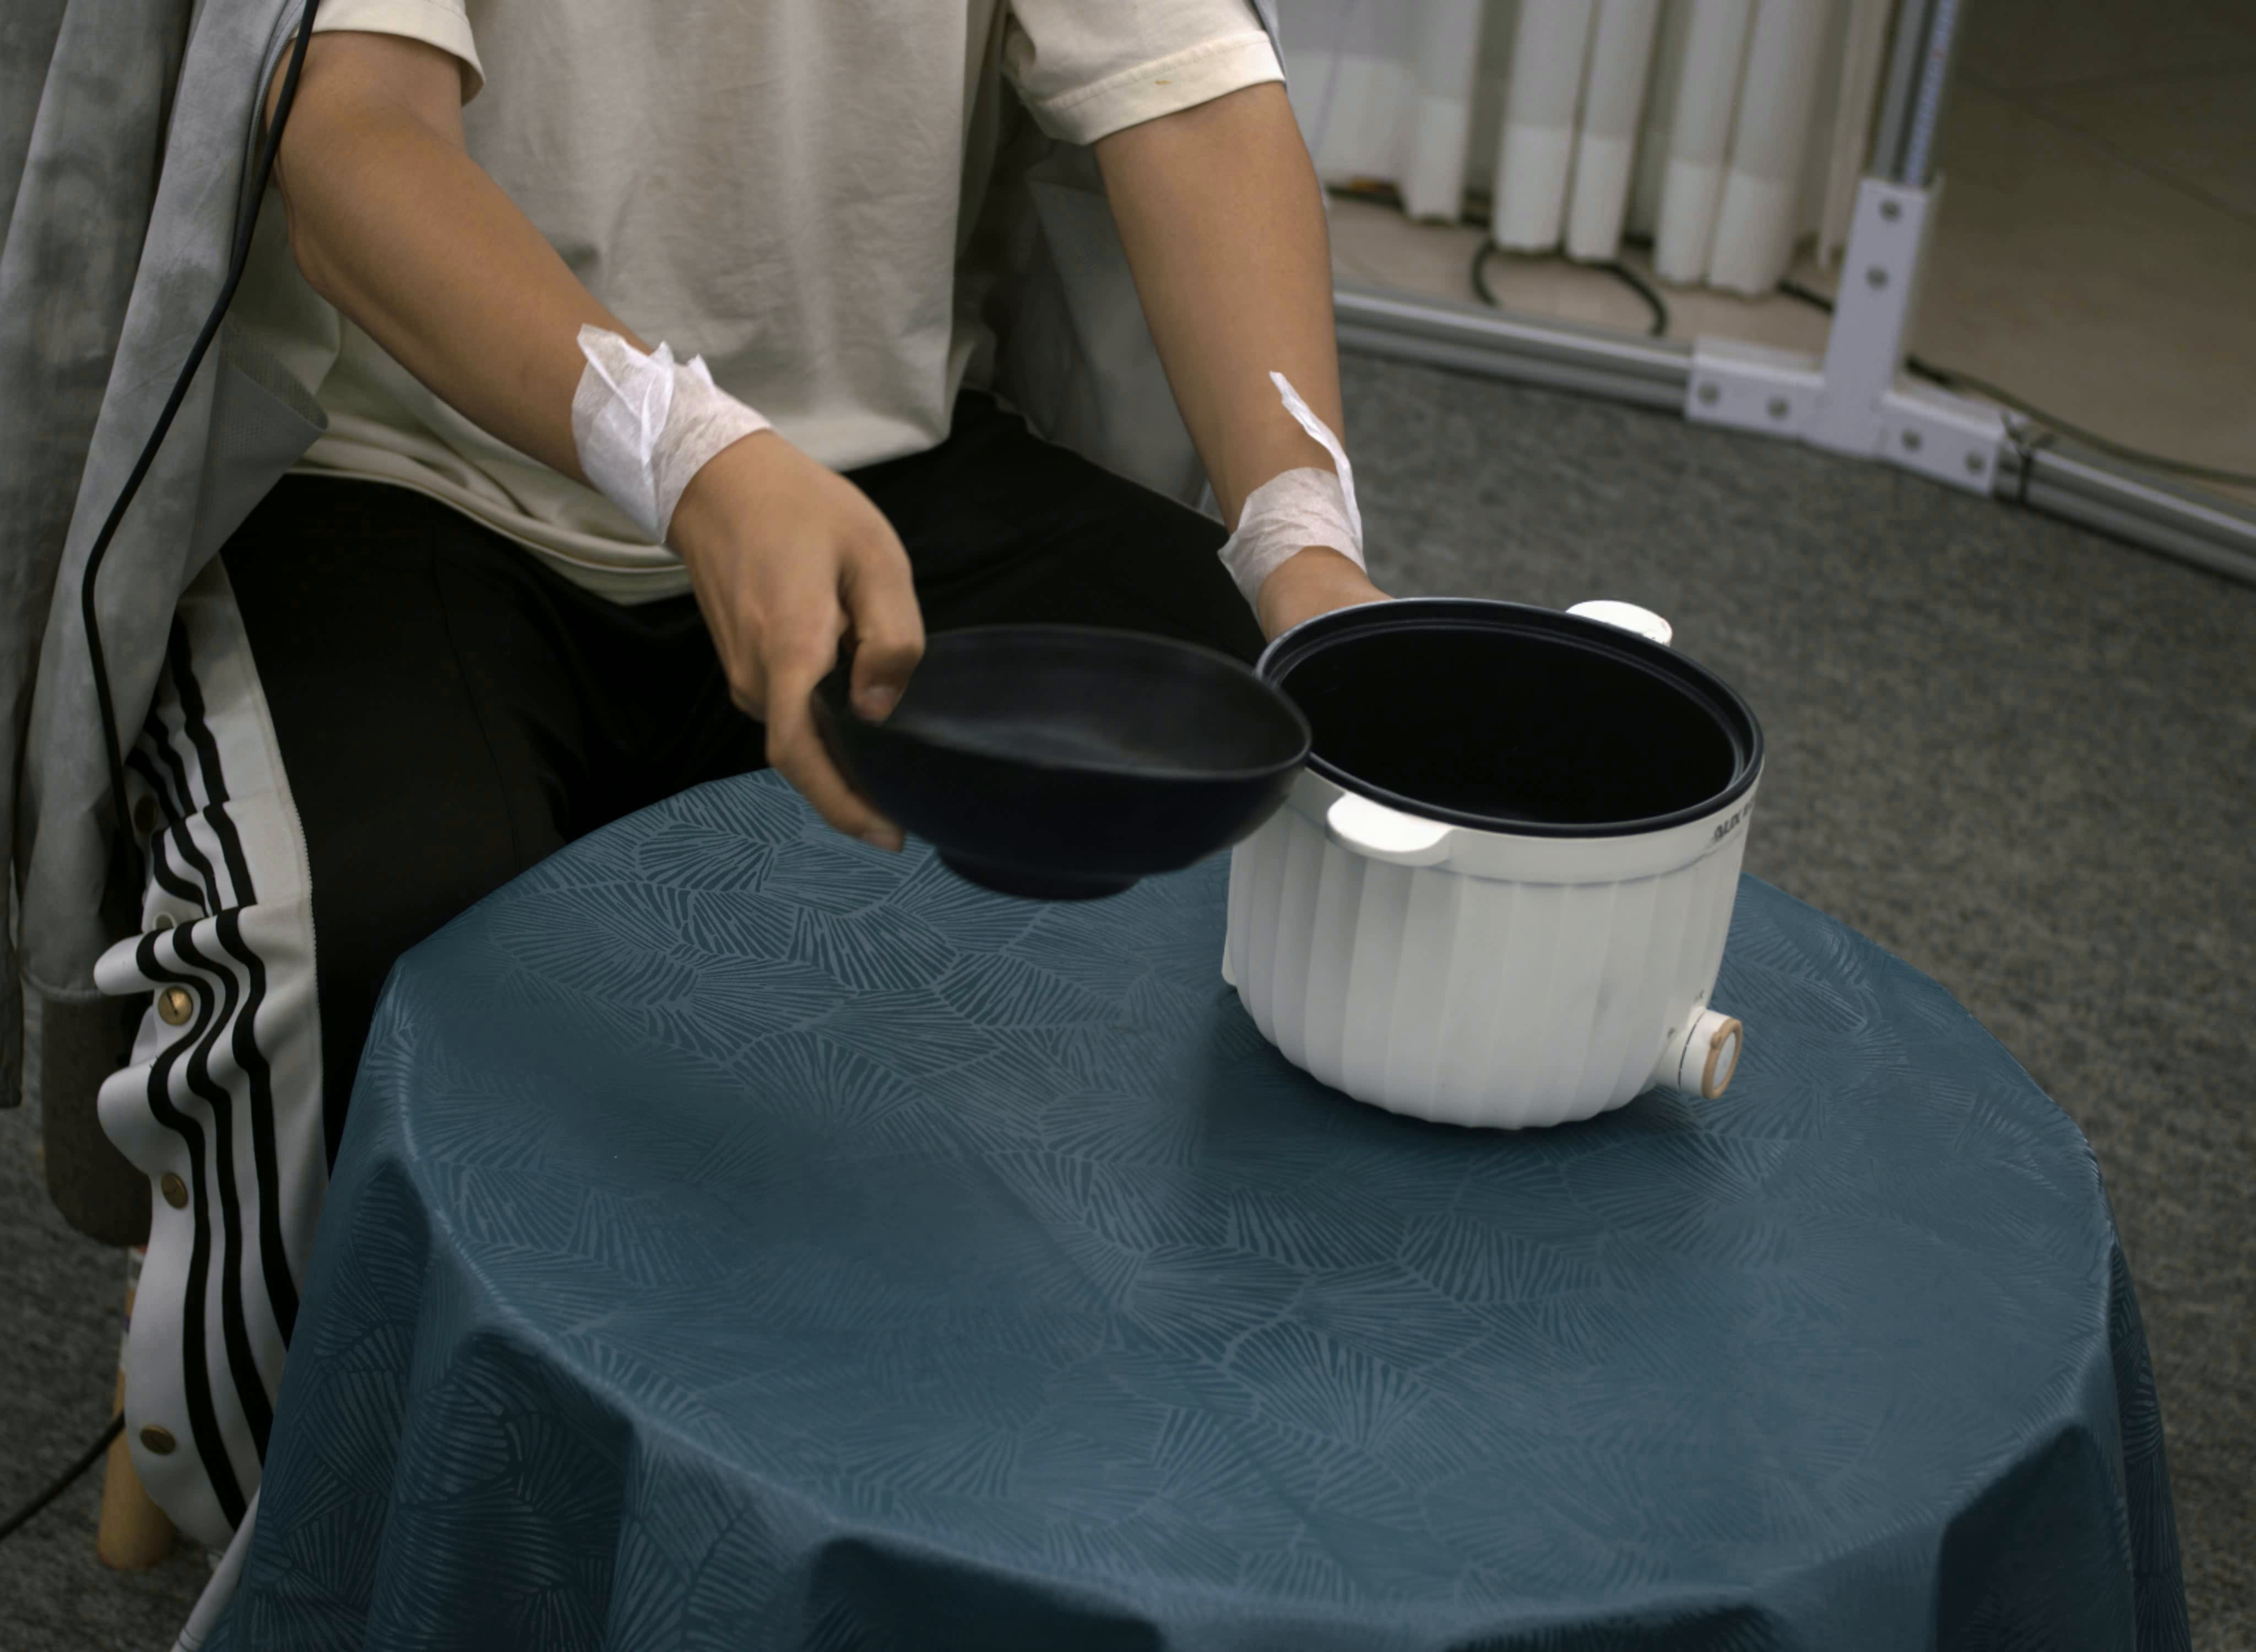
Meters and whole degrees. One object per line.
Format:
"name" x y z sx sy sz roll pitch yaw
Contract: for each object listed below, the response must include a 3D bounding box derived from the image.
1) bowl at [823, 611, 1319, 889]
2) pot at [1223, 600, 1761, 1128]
"bowl" -0.022 -0.020 1.764 0.170 0.066 0.137 10 22 16
"pot" 0.131 0.019 1.889 0.191 0.142 0.240 15 28 23
